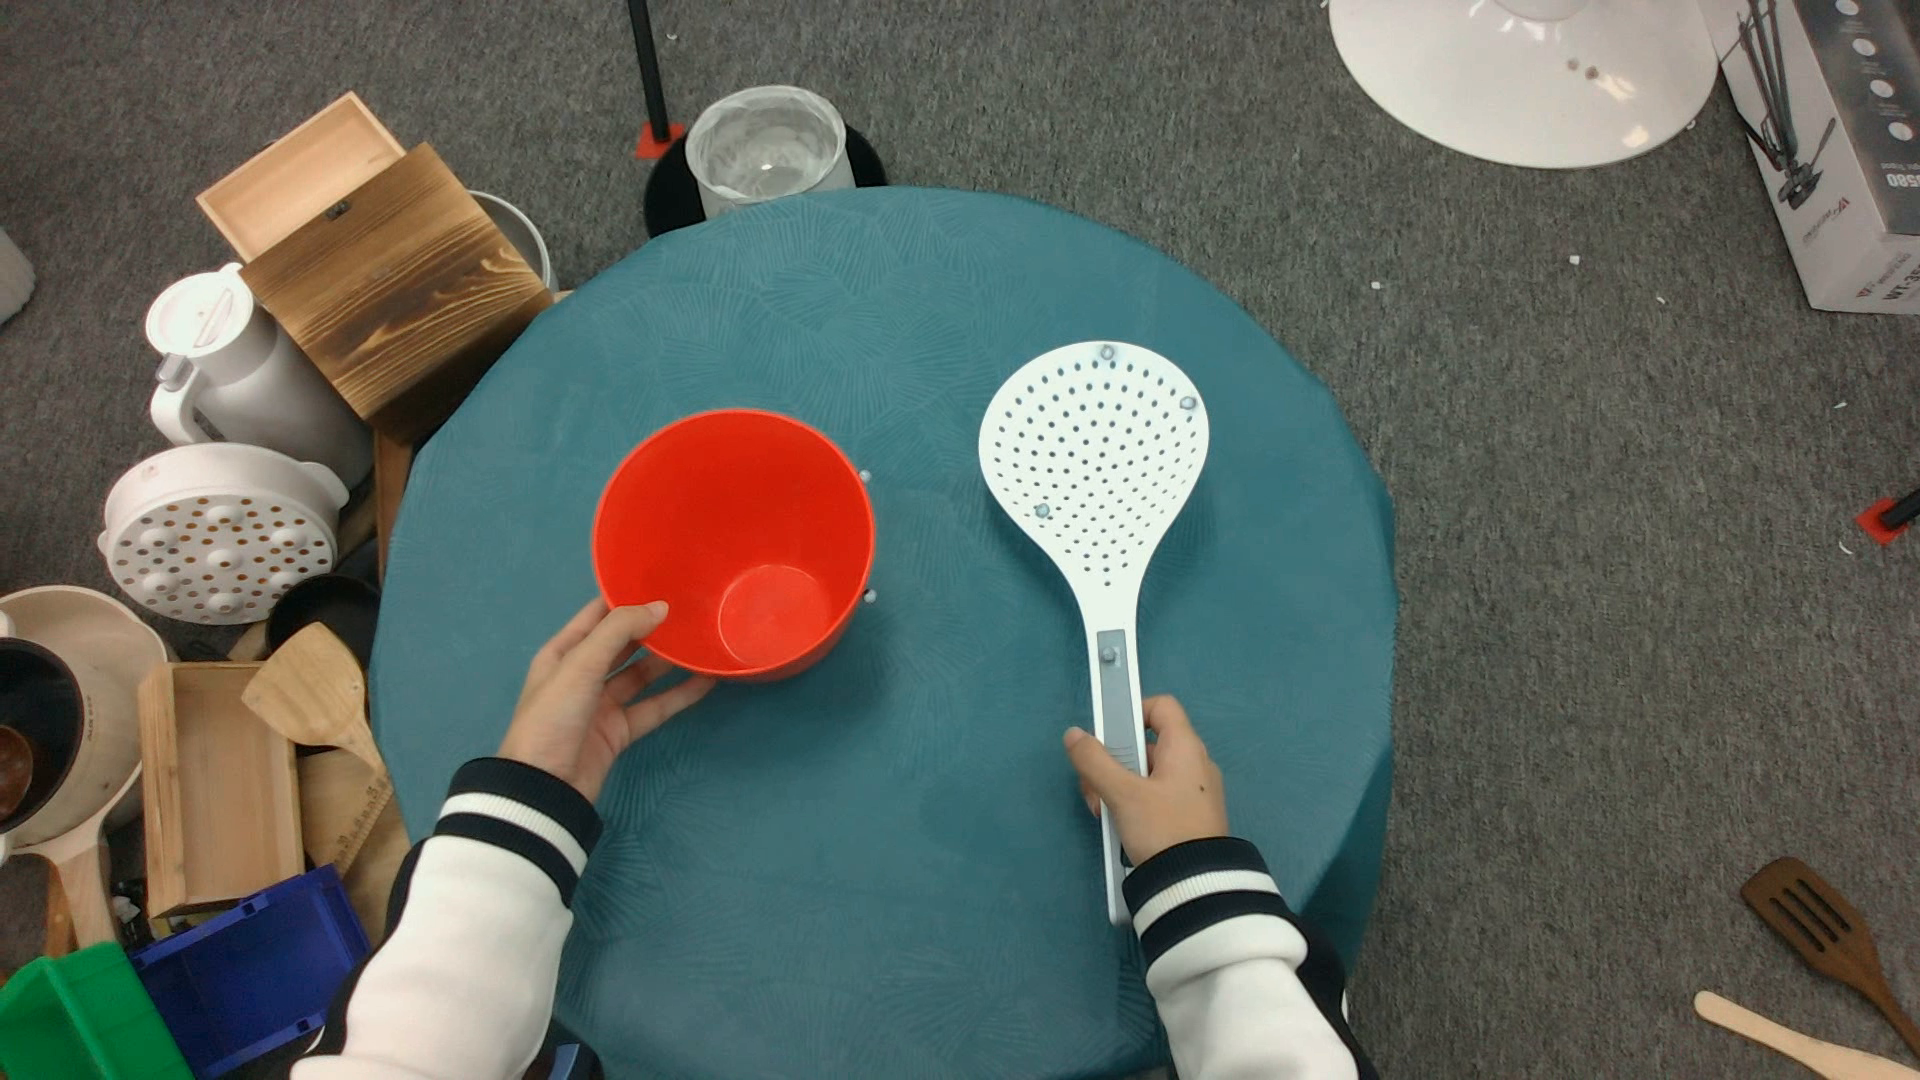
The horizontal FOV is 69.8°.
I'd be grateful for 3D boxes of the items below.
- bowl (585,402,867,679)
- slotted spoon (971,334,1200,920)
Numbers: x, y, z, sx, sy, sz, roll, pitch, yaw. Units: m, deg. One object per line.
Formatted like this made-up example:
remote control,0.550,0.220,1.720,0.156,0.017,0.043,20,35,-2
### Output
bowl,-0.122,0.013,0.762,0.148,0.104,0.148,0,63,0
slotted spoon,0.078,0.034,0.767,0.136,0.045,0.351,-7,57,9
